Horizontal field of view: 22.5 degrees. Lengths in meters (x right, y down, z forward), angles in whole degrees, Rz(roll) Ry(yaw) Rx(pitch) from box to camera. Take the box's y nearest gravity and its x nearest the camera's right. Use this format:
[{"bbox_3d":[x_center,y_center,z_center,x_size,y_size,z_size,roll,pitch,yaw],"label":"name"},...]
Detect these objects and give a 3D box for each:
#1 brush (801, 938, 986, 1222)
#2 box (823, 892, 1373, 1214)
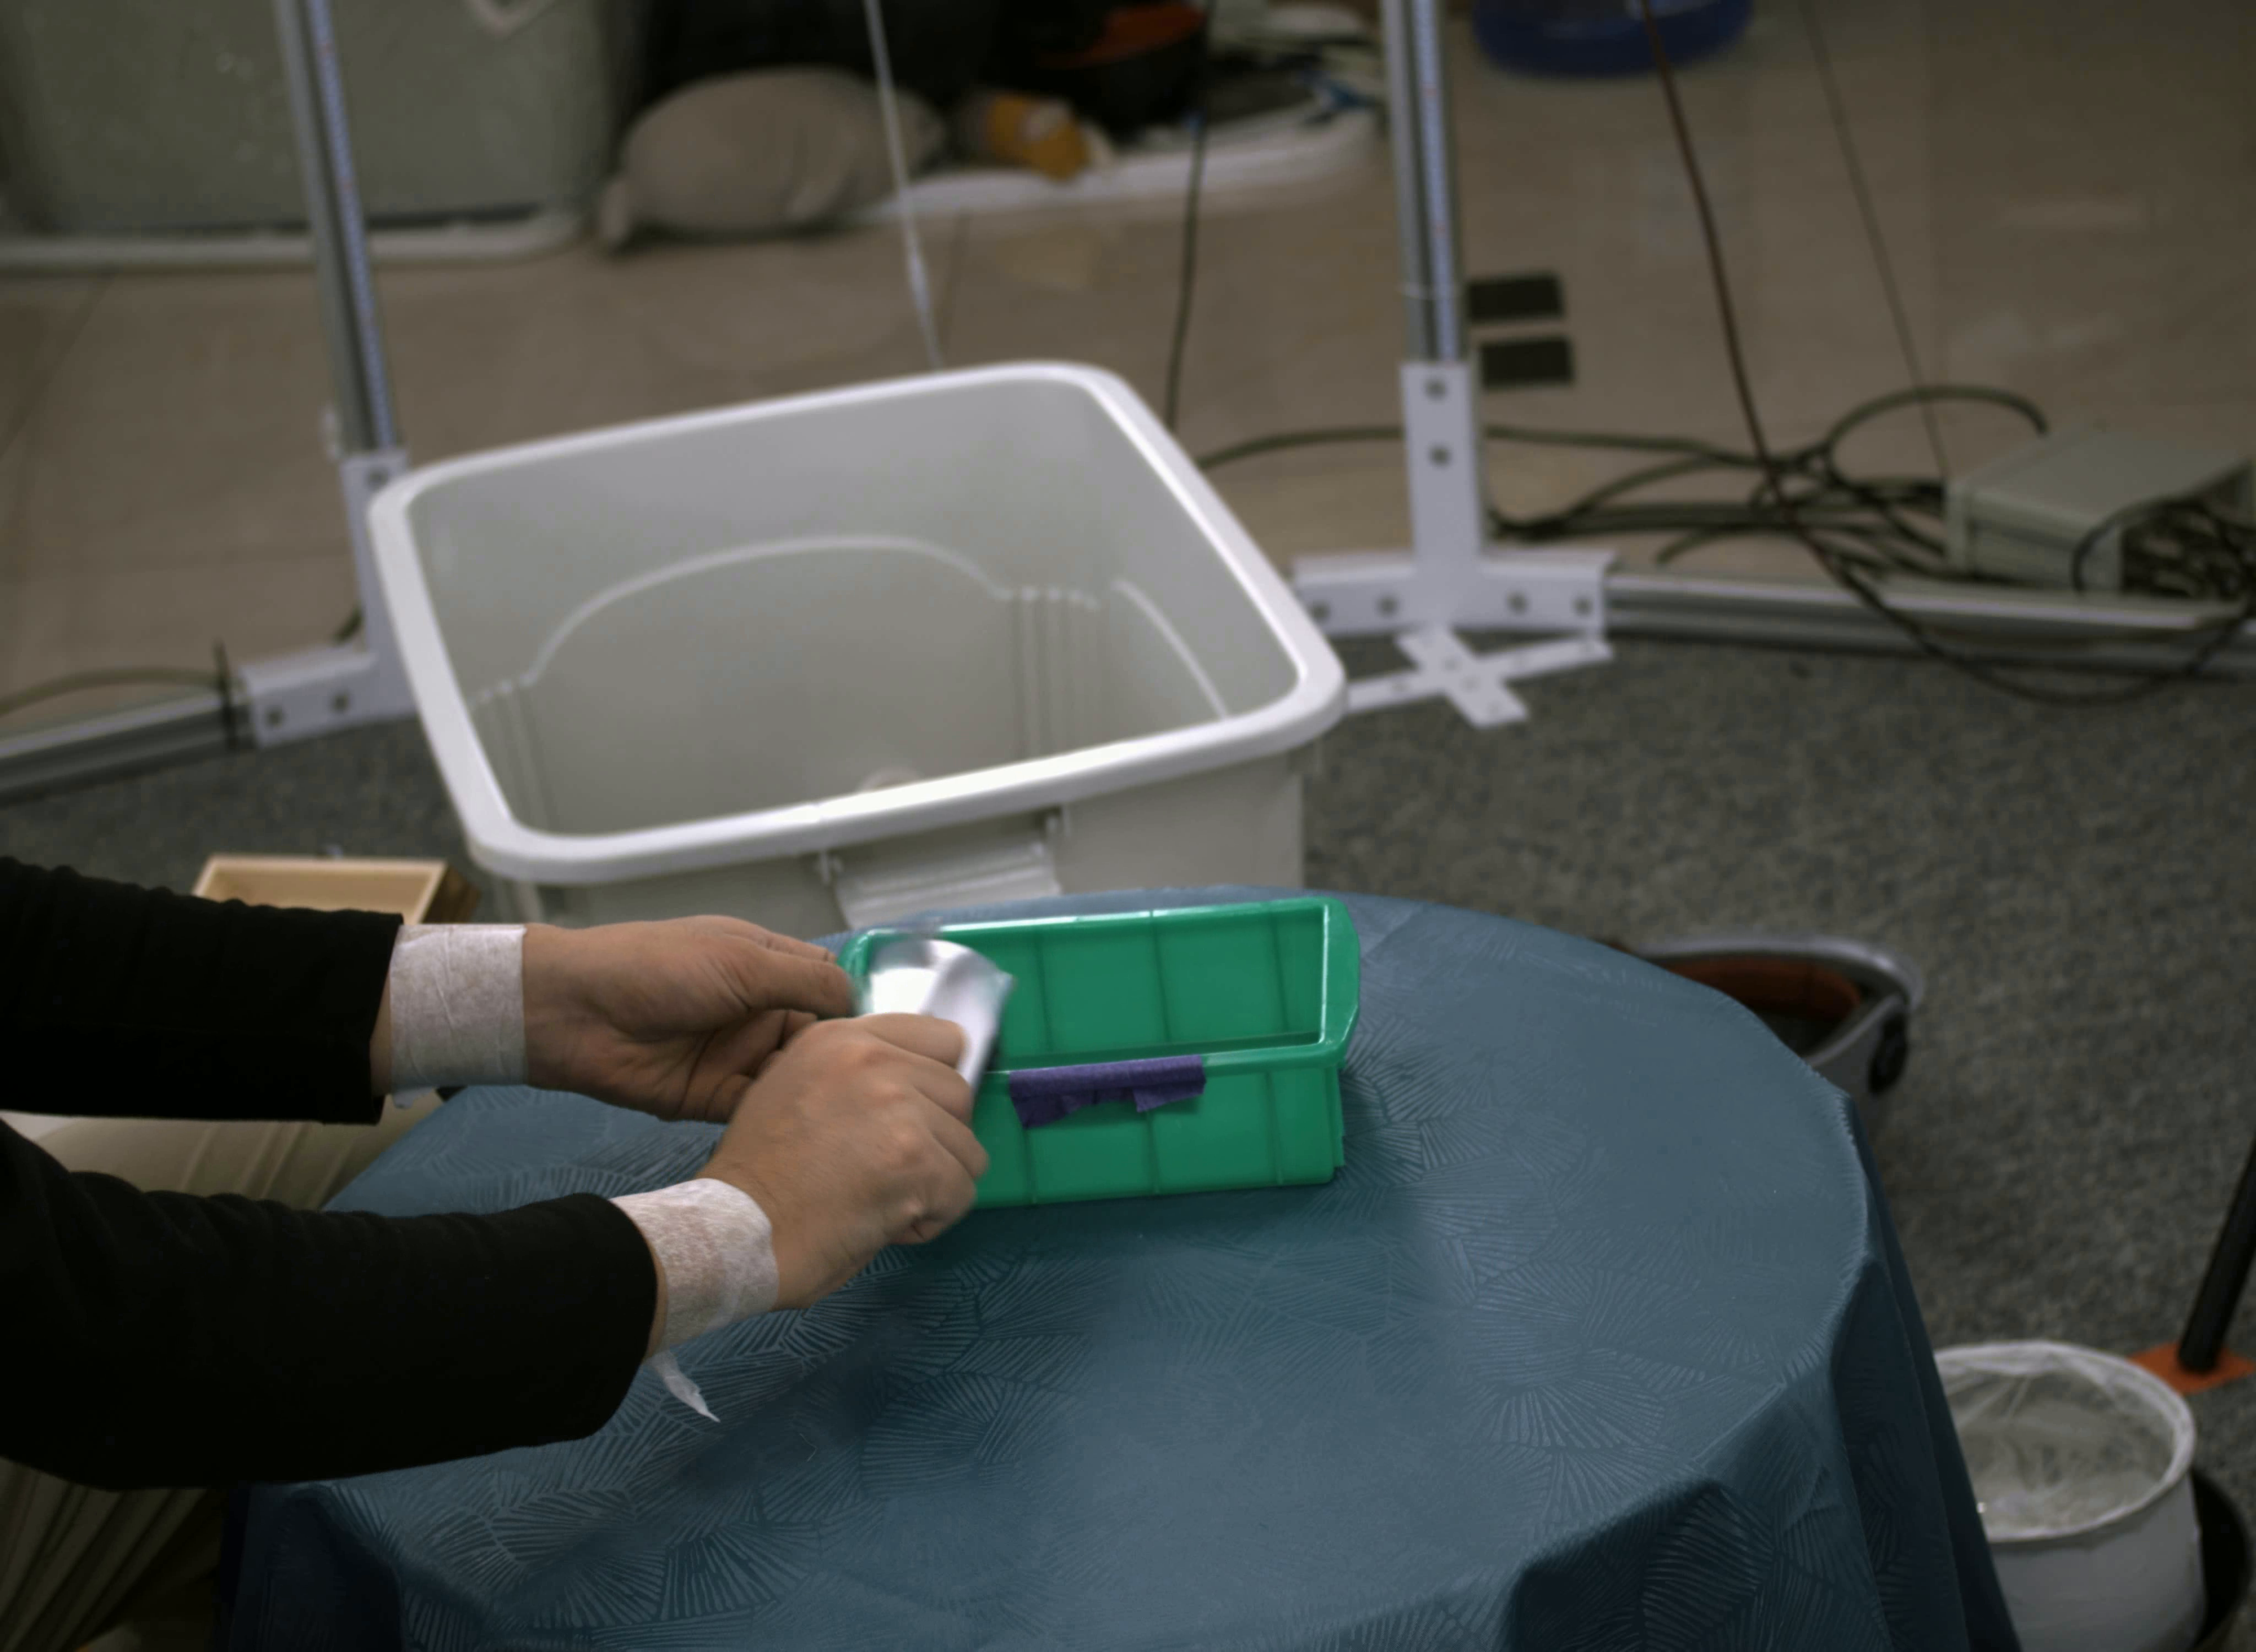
[{"bbox_3d":[-0.088,0.086,2.080,0.050,0.074,0.098,16,58,14],"label":"brush"},{"bbox_3d":[-0.009,0.089,2.183,0.210,0.066,0.136,-4,27,3],"label":"box"}]
